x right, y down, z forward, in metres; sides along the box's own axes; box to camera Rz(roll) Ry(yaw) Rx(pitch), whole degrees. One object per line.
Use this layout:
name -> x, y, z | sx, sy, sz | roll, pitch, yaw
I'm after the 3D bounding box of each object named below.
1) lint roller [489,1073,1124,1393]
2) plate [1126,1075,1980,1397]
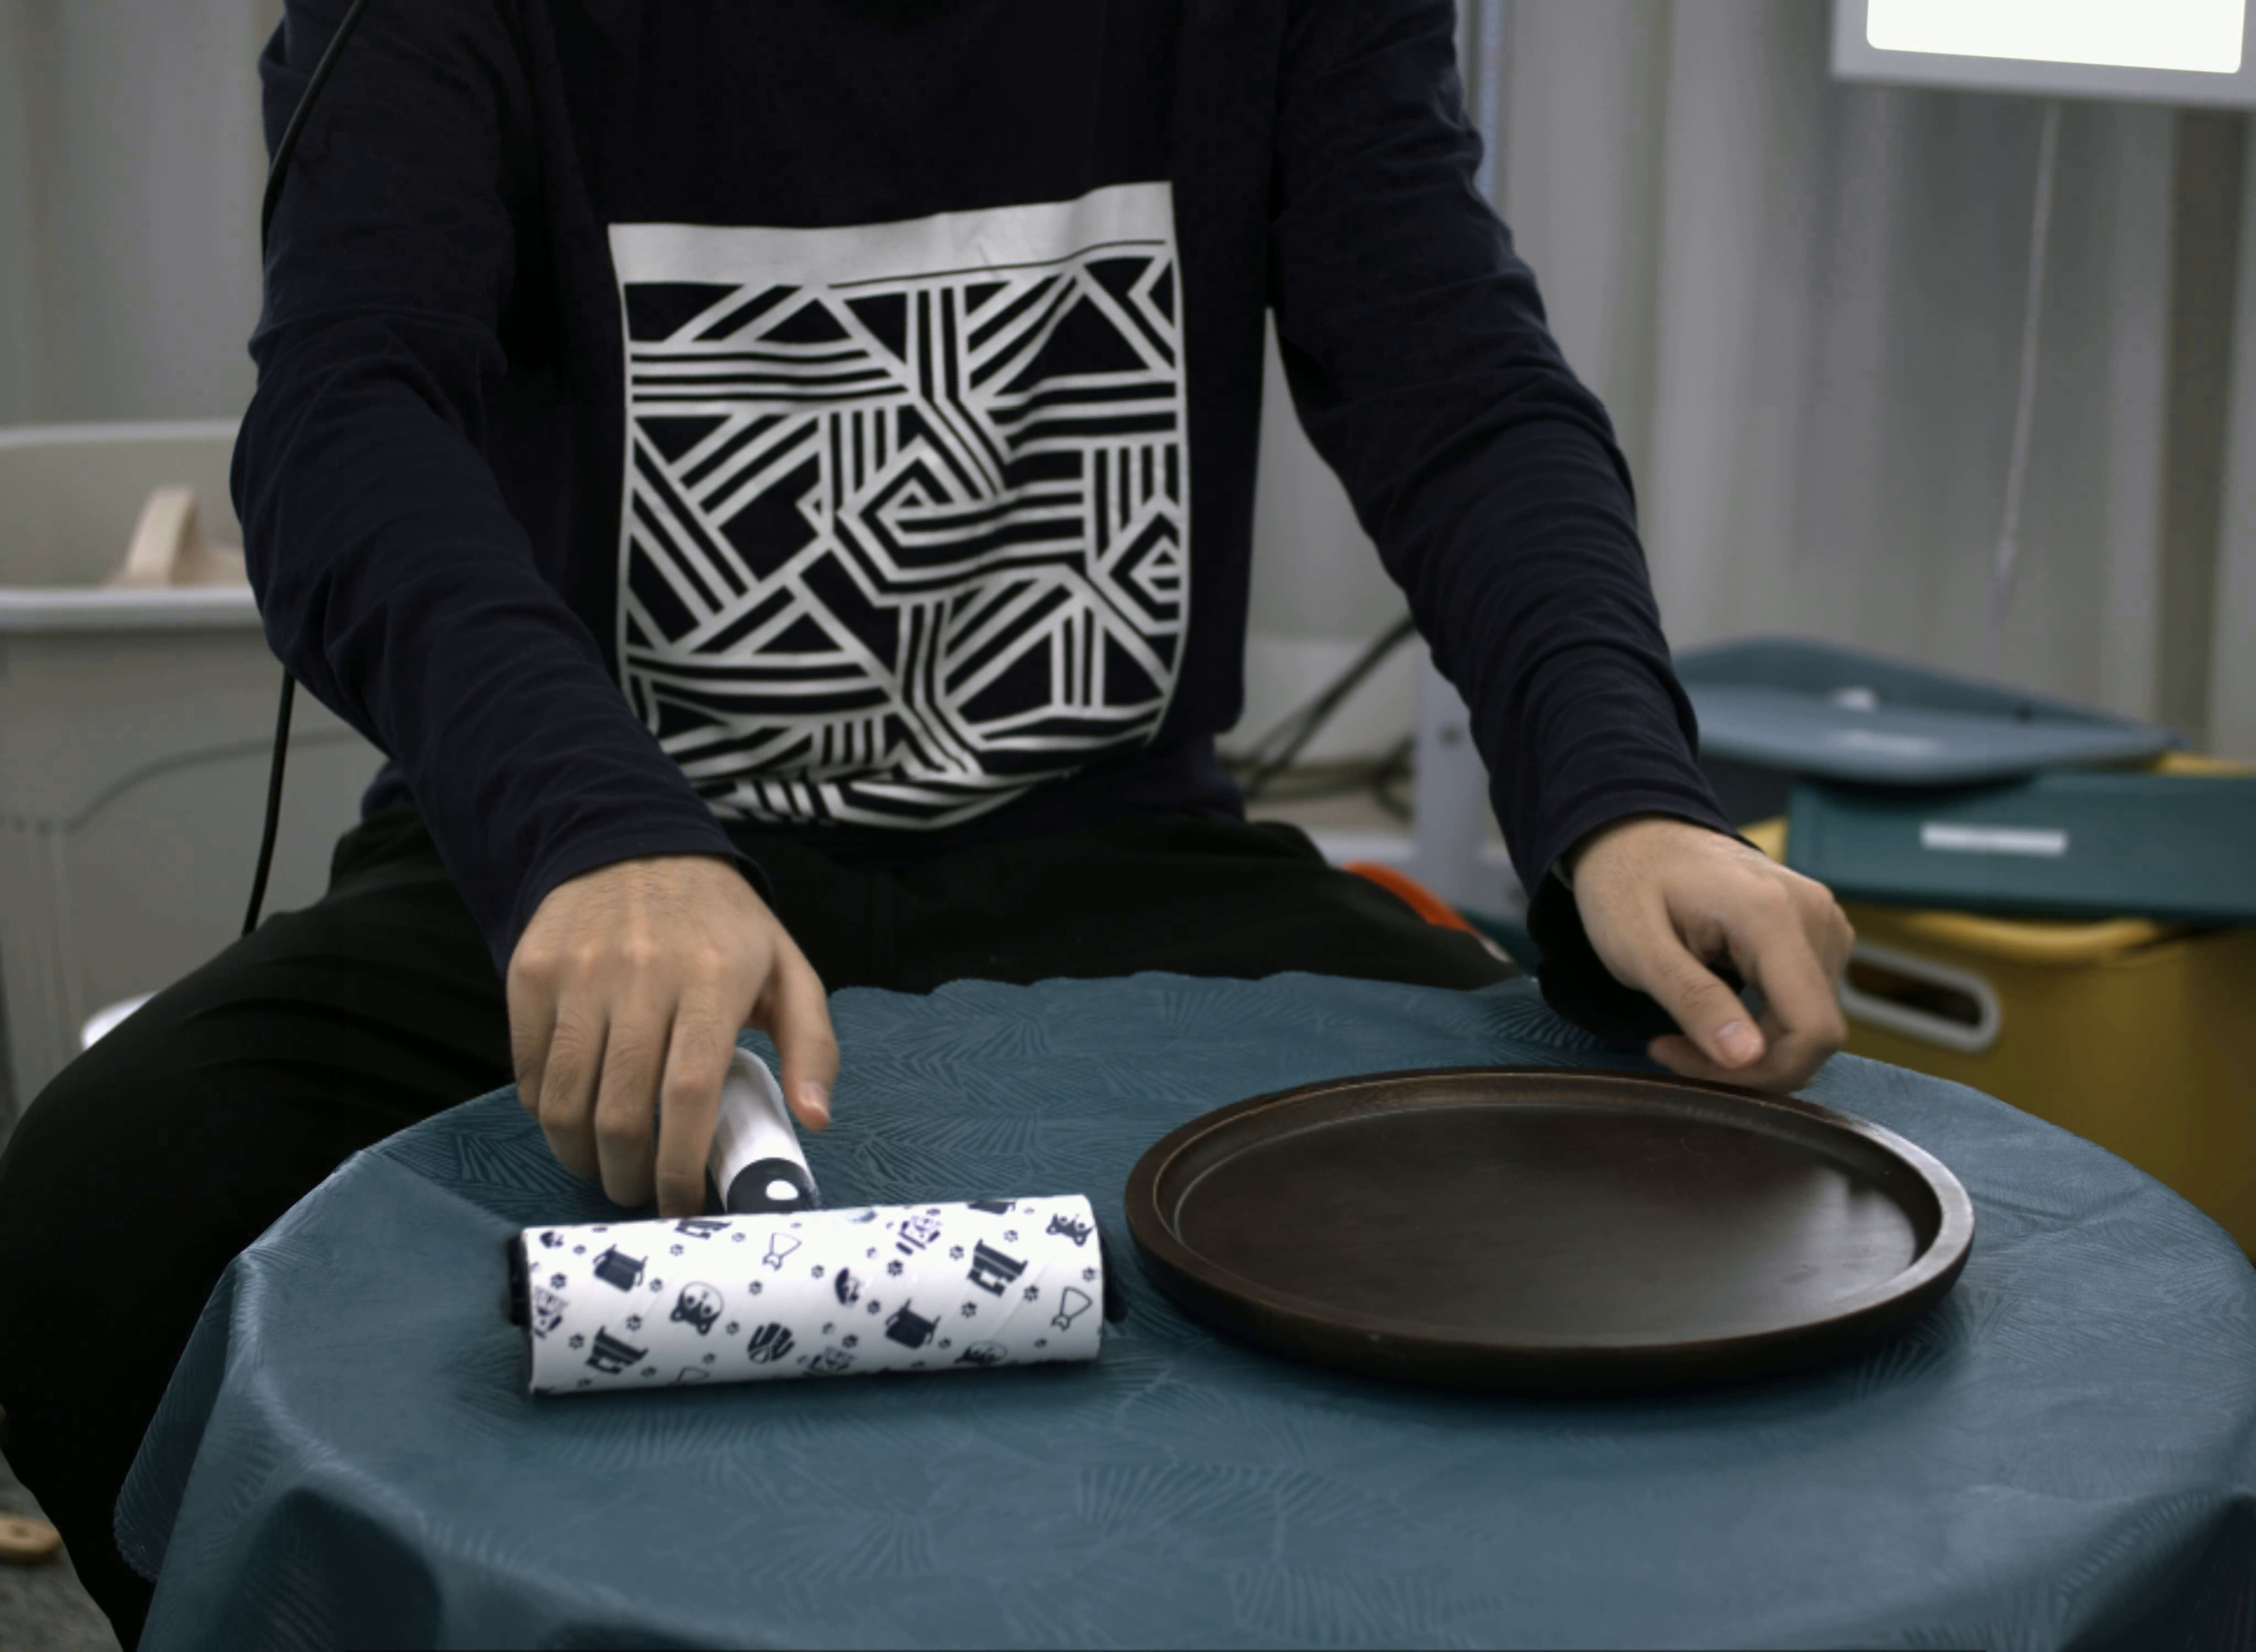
lint roller -> -0.109, 0.107, 1.563 | 0.176, 0.051, 0.245 | -4, 14, -11
plate -> 0.126, 0.119, 1.565 | 0.254, 0.029, 0.253 | 0, 13, 0
